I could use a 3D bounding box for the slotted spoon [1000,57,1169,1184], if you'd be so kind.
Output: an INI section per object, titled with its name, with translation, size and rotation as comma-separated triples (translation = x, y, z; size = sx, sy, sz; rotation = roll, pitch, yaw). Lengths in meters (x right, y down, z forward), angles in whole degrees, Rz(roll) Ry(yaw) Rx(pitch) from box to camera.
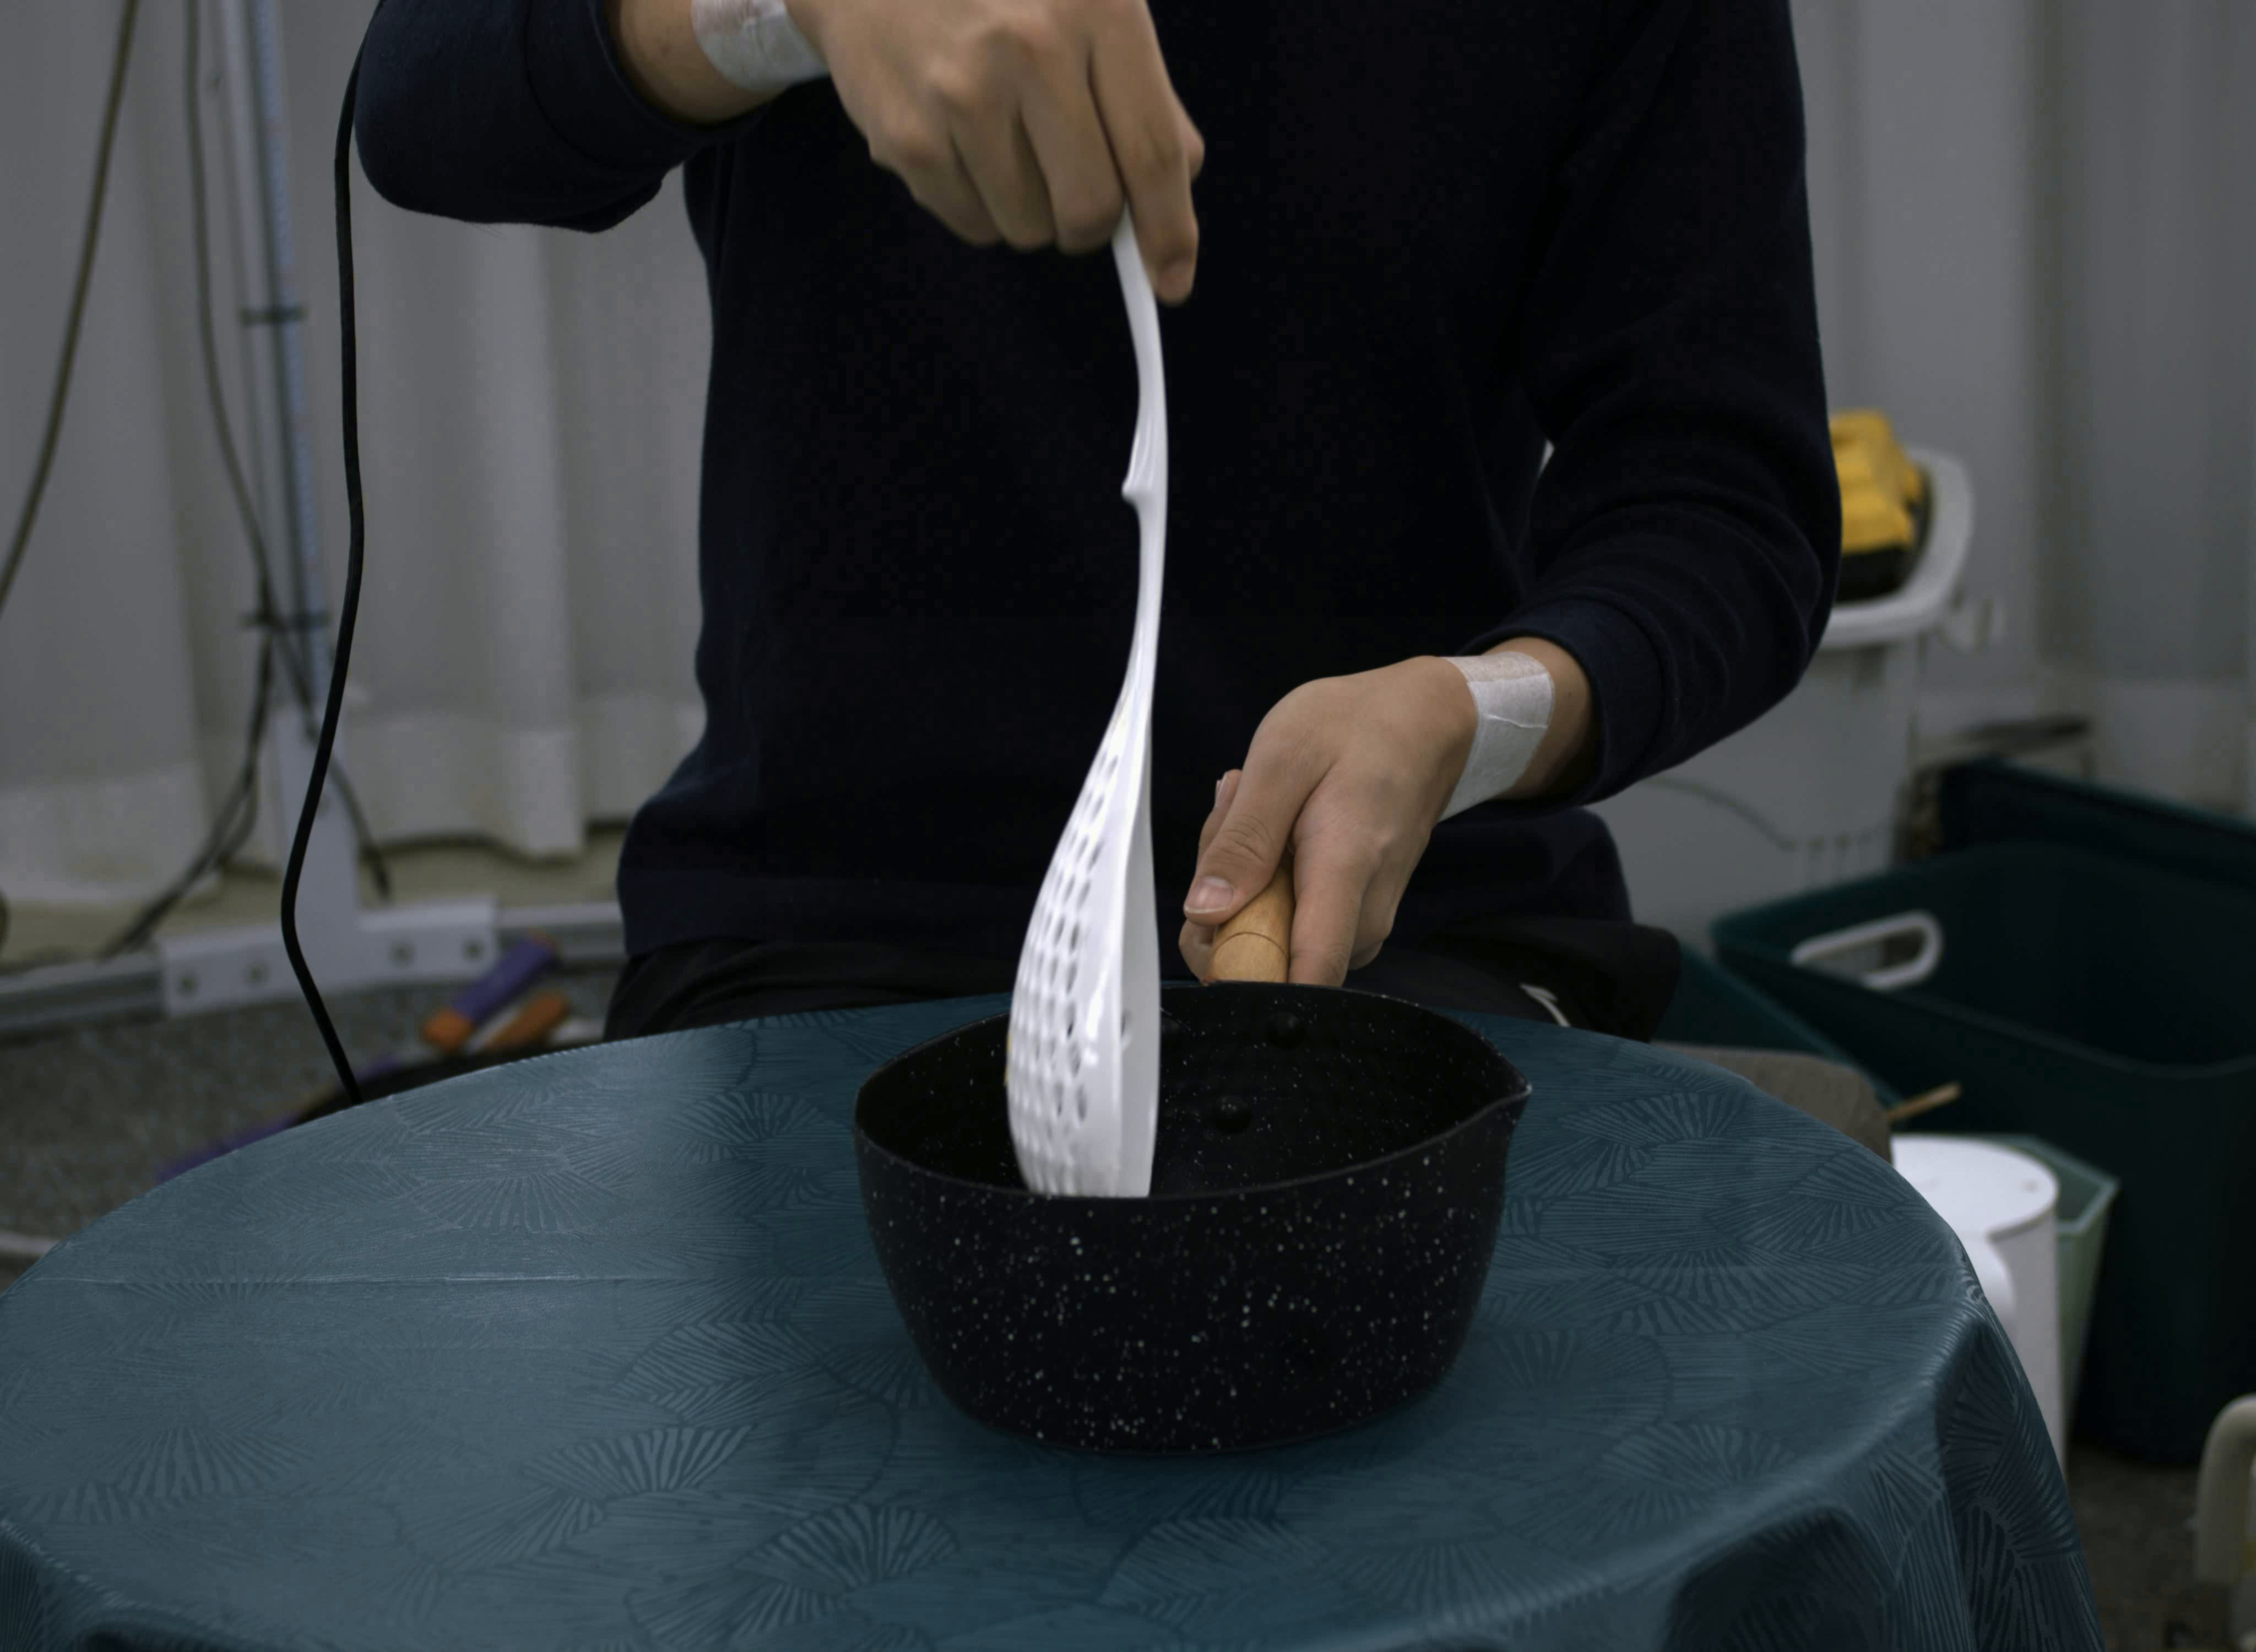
[slotted spoon]
translation = -0.005, -0.037, 1.523
size = 0.050, 0.347, 0.137
rotation = 6, 9, 4

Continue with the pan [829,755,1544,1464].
[pan]
translation = 0.027, 0.079, 1.625
size = 0.207, 0.107, 0.345
rotation = -2, 17, 9
